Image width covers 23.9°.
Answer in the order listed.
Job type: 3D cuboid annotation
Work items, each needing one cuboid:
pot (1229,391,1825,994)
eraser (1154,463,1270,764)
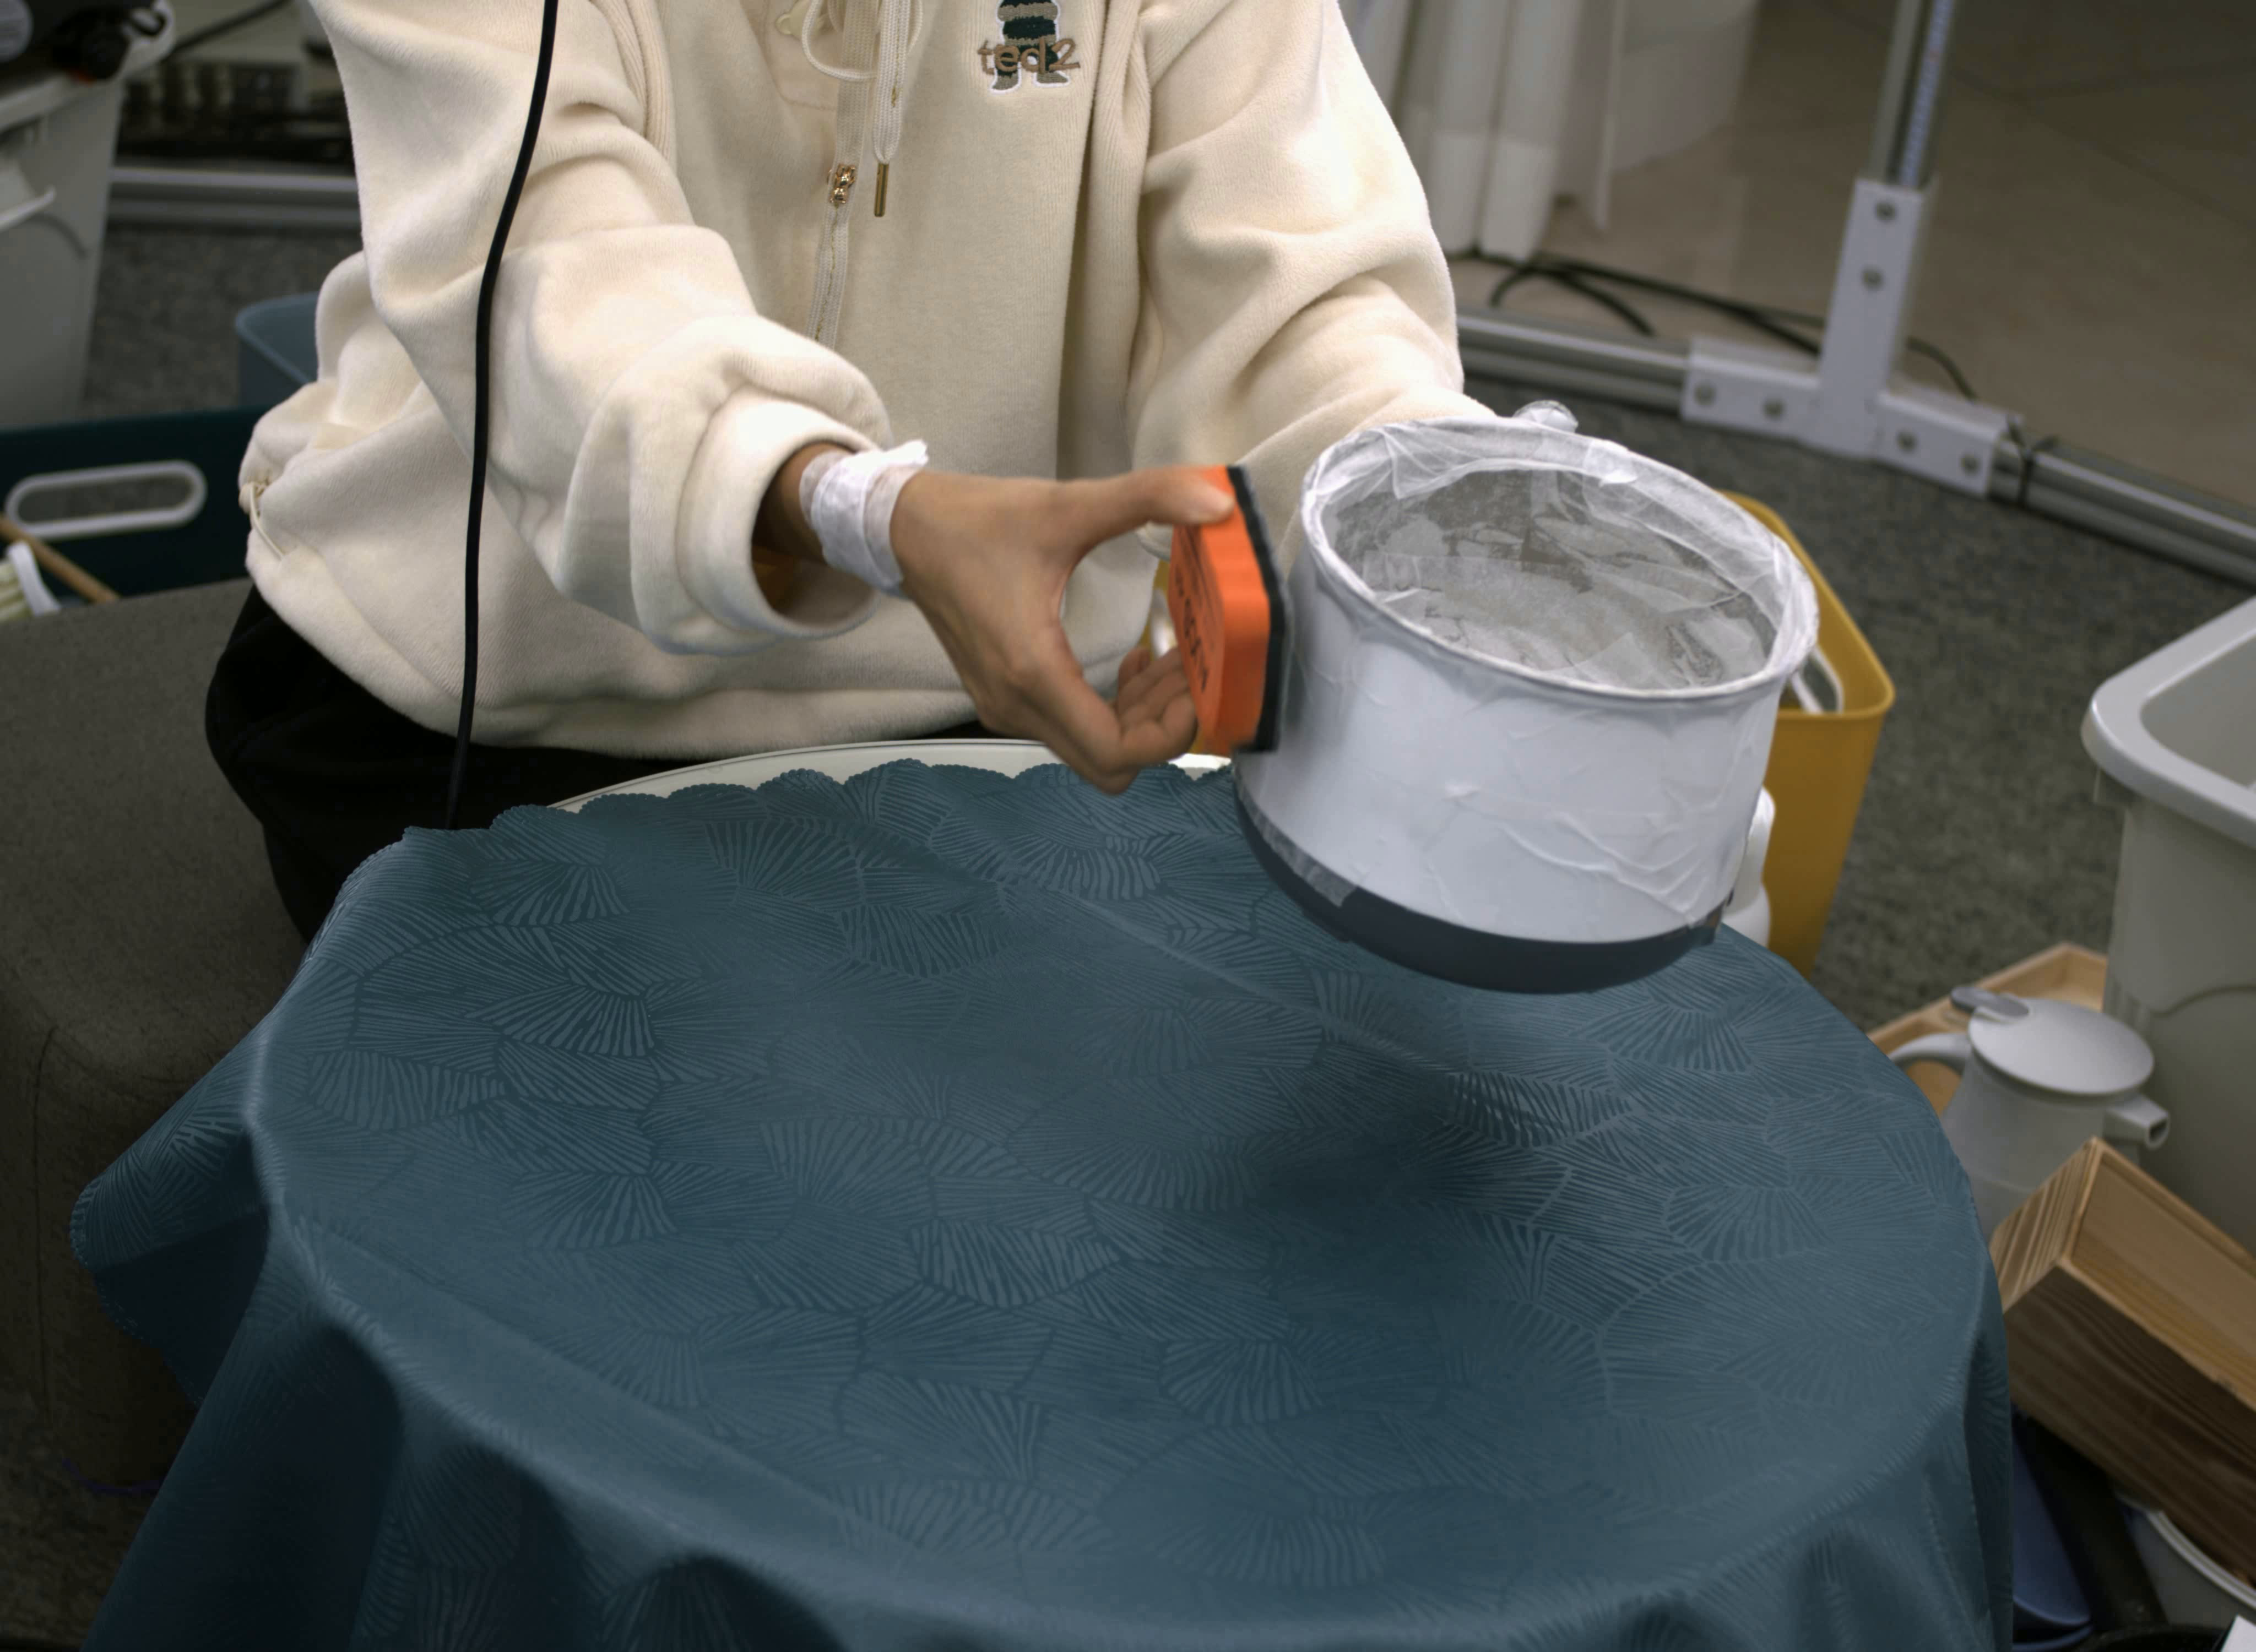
[{"bbox_3d":[0.129,-0.054,1.800,0.178,0.136,0.235,12,32,-6],"label":"pot"},{"bbox_3d":[0.027,-0.070,1.741,0.023,0.059,0.109,-3,34,-8],"label":"eraser"}]
